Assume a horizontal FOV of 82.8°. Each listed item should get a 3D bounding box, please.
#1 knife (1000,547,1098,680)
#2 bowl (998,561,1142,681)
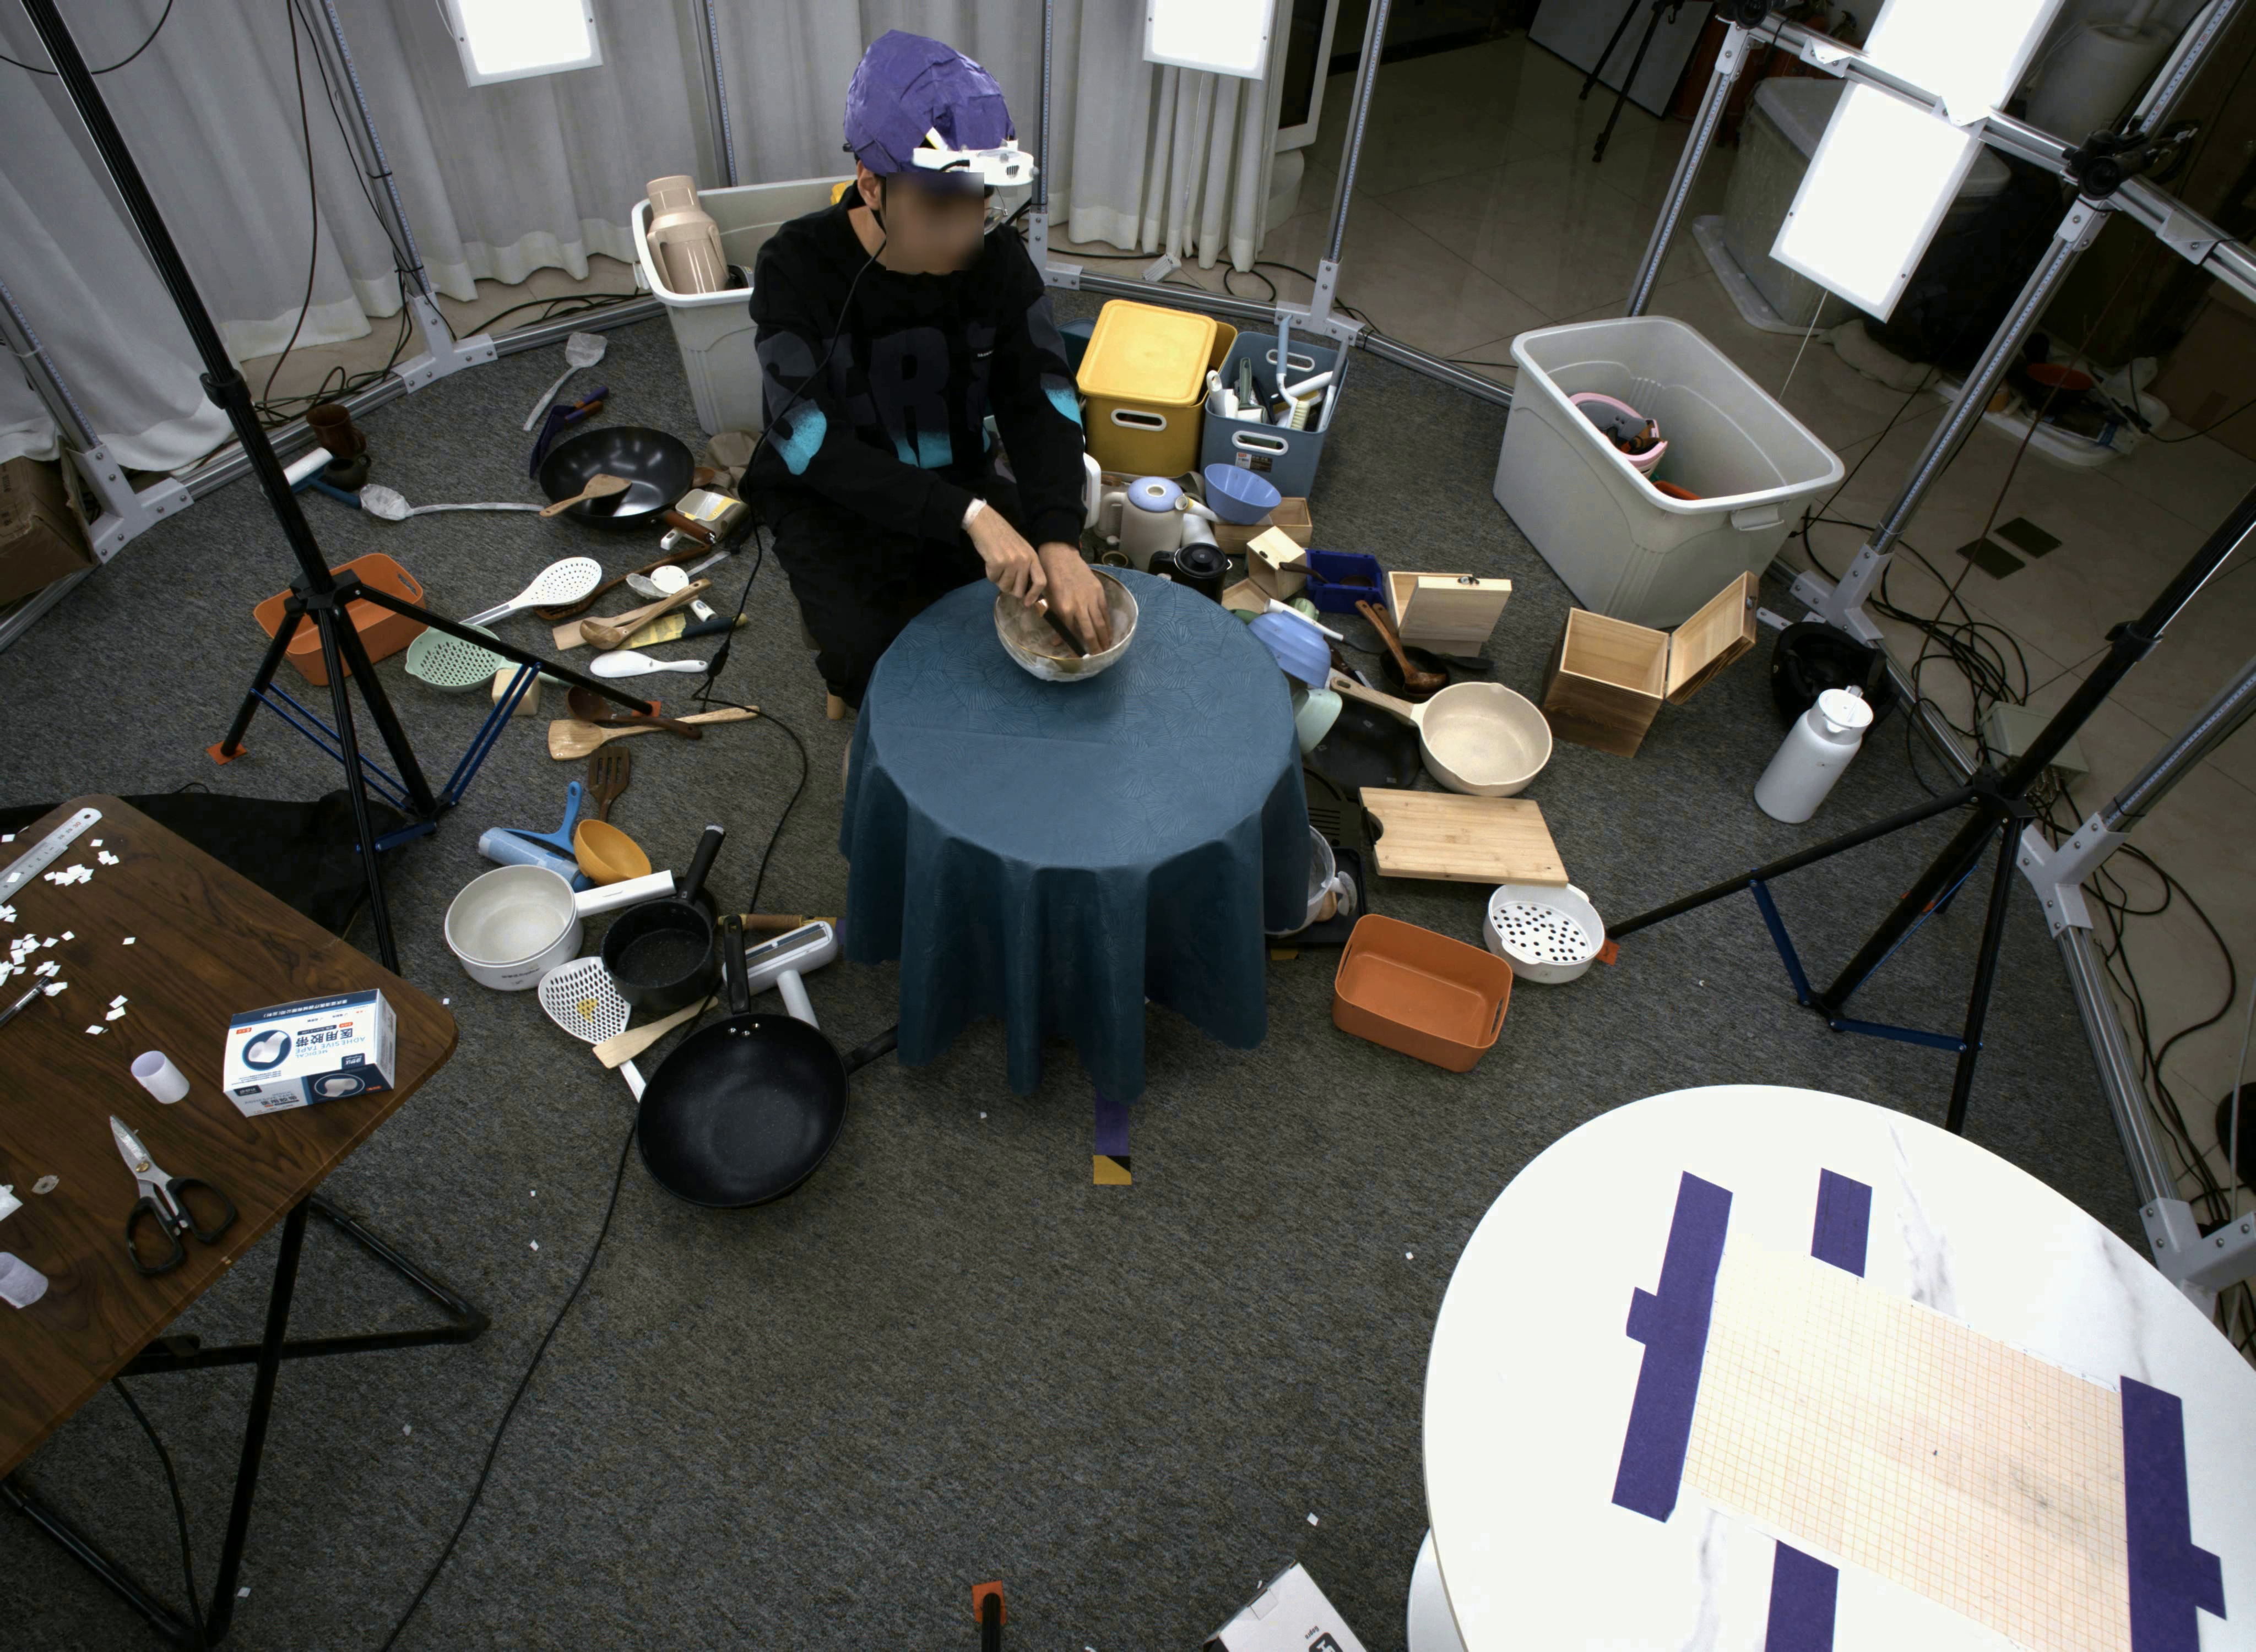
[{"bbox_3d":[-0.108,-0.300,1.821,0.225,0.026,0.017,52,48,-1],"label":"knife"},{"bbox_3d":[-0.086,-0.281,1.844,0.214,0.092,0.220,1,51,-2],"label":"bowl"}]
